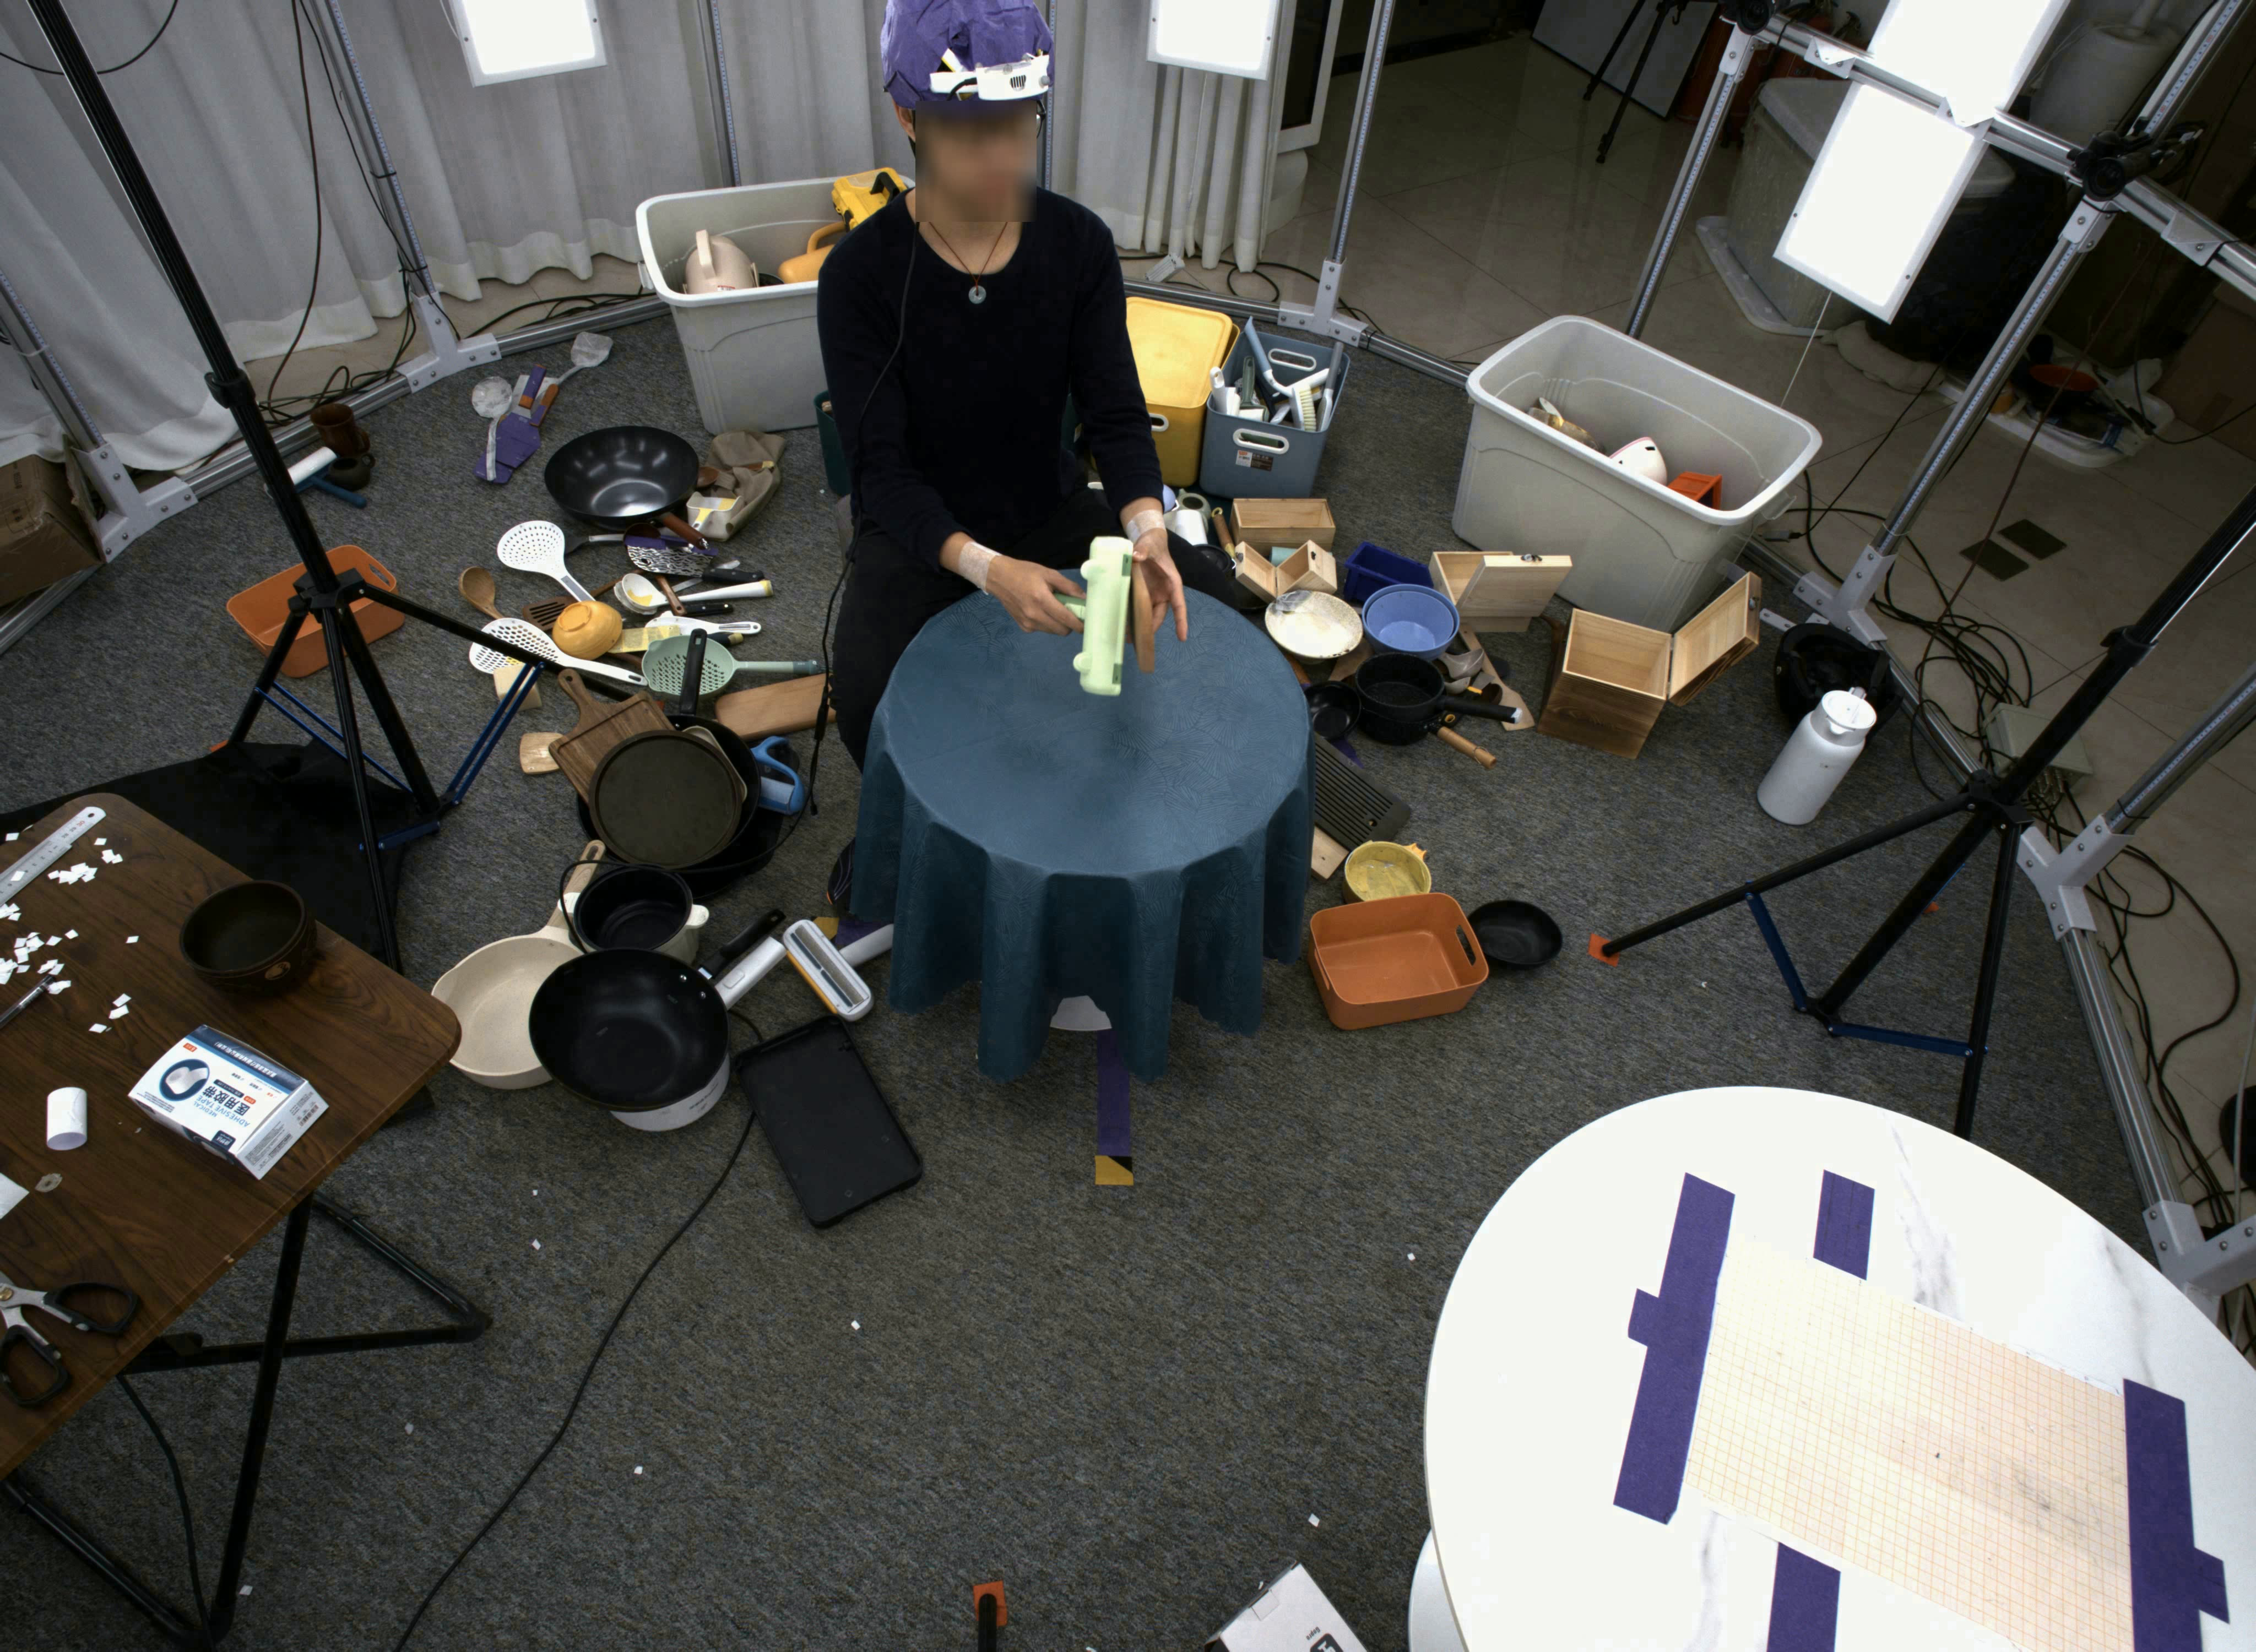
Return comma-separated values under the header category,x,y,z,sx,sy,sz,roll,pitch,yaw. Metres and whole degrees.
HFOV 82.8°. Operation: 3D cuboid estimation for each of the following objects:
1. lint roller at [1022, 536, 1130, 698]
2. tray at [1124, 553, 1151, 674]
category,x,y,z,sx,sy,sz,roll,pitch,yaw
lint roller,-0.080,-0.273,1.637,0.185,0.196,0.082,14,16,31
tray,0.010,-0.270,1.625,0.020,0.099,0.236,-4,31,-5
